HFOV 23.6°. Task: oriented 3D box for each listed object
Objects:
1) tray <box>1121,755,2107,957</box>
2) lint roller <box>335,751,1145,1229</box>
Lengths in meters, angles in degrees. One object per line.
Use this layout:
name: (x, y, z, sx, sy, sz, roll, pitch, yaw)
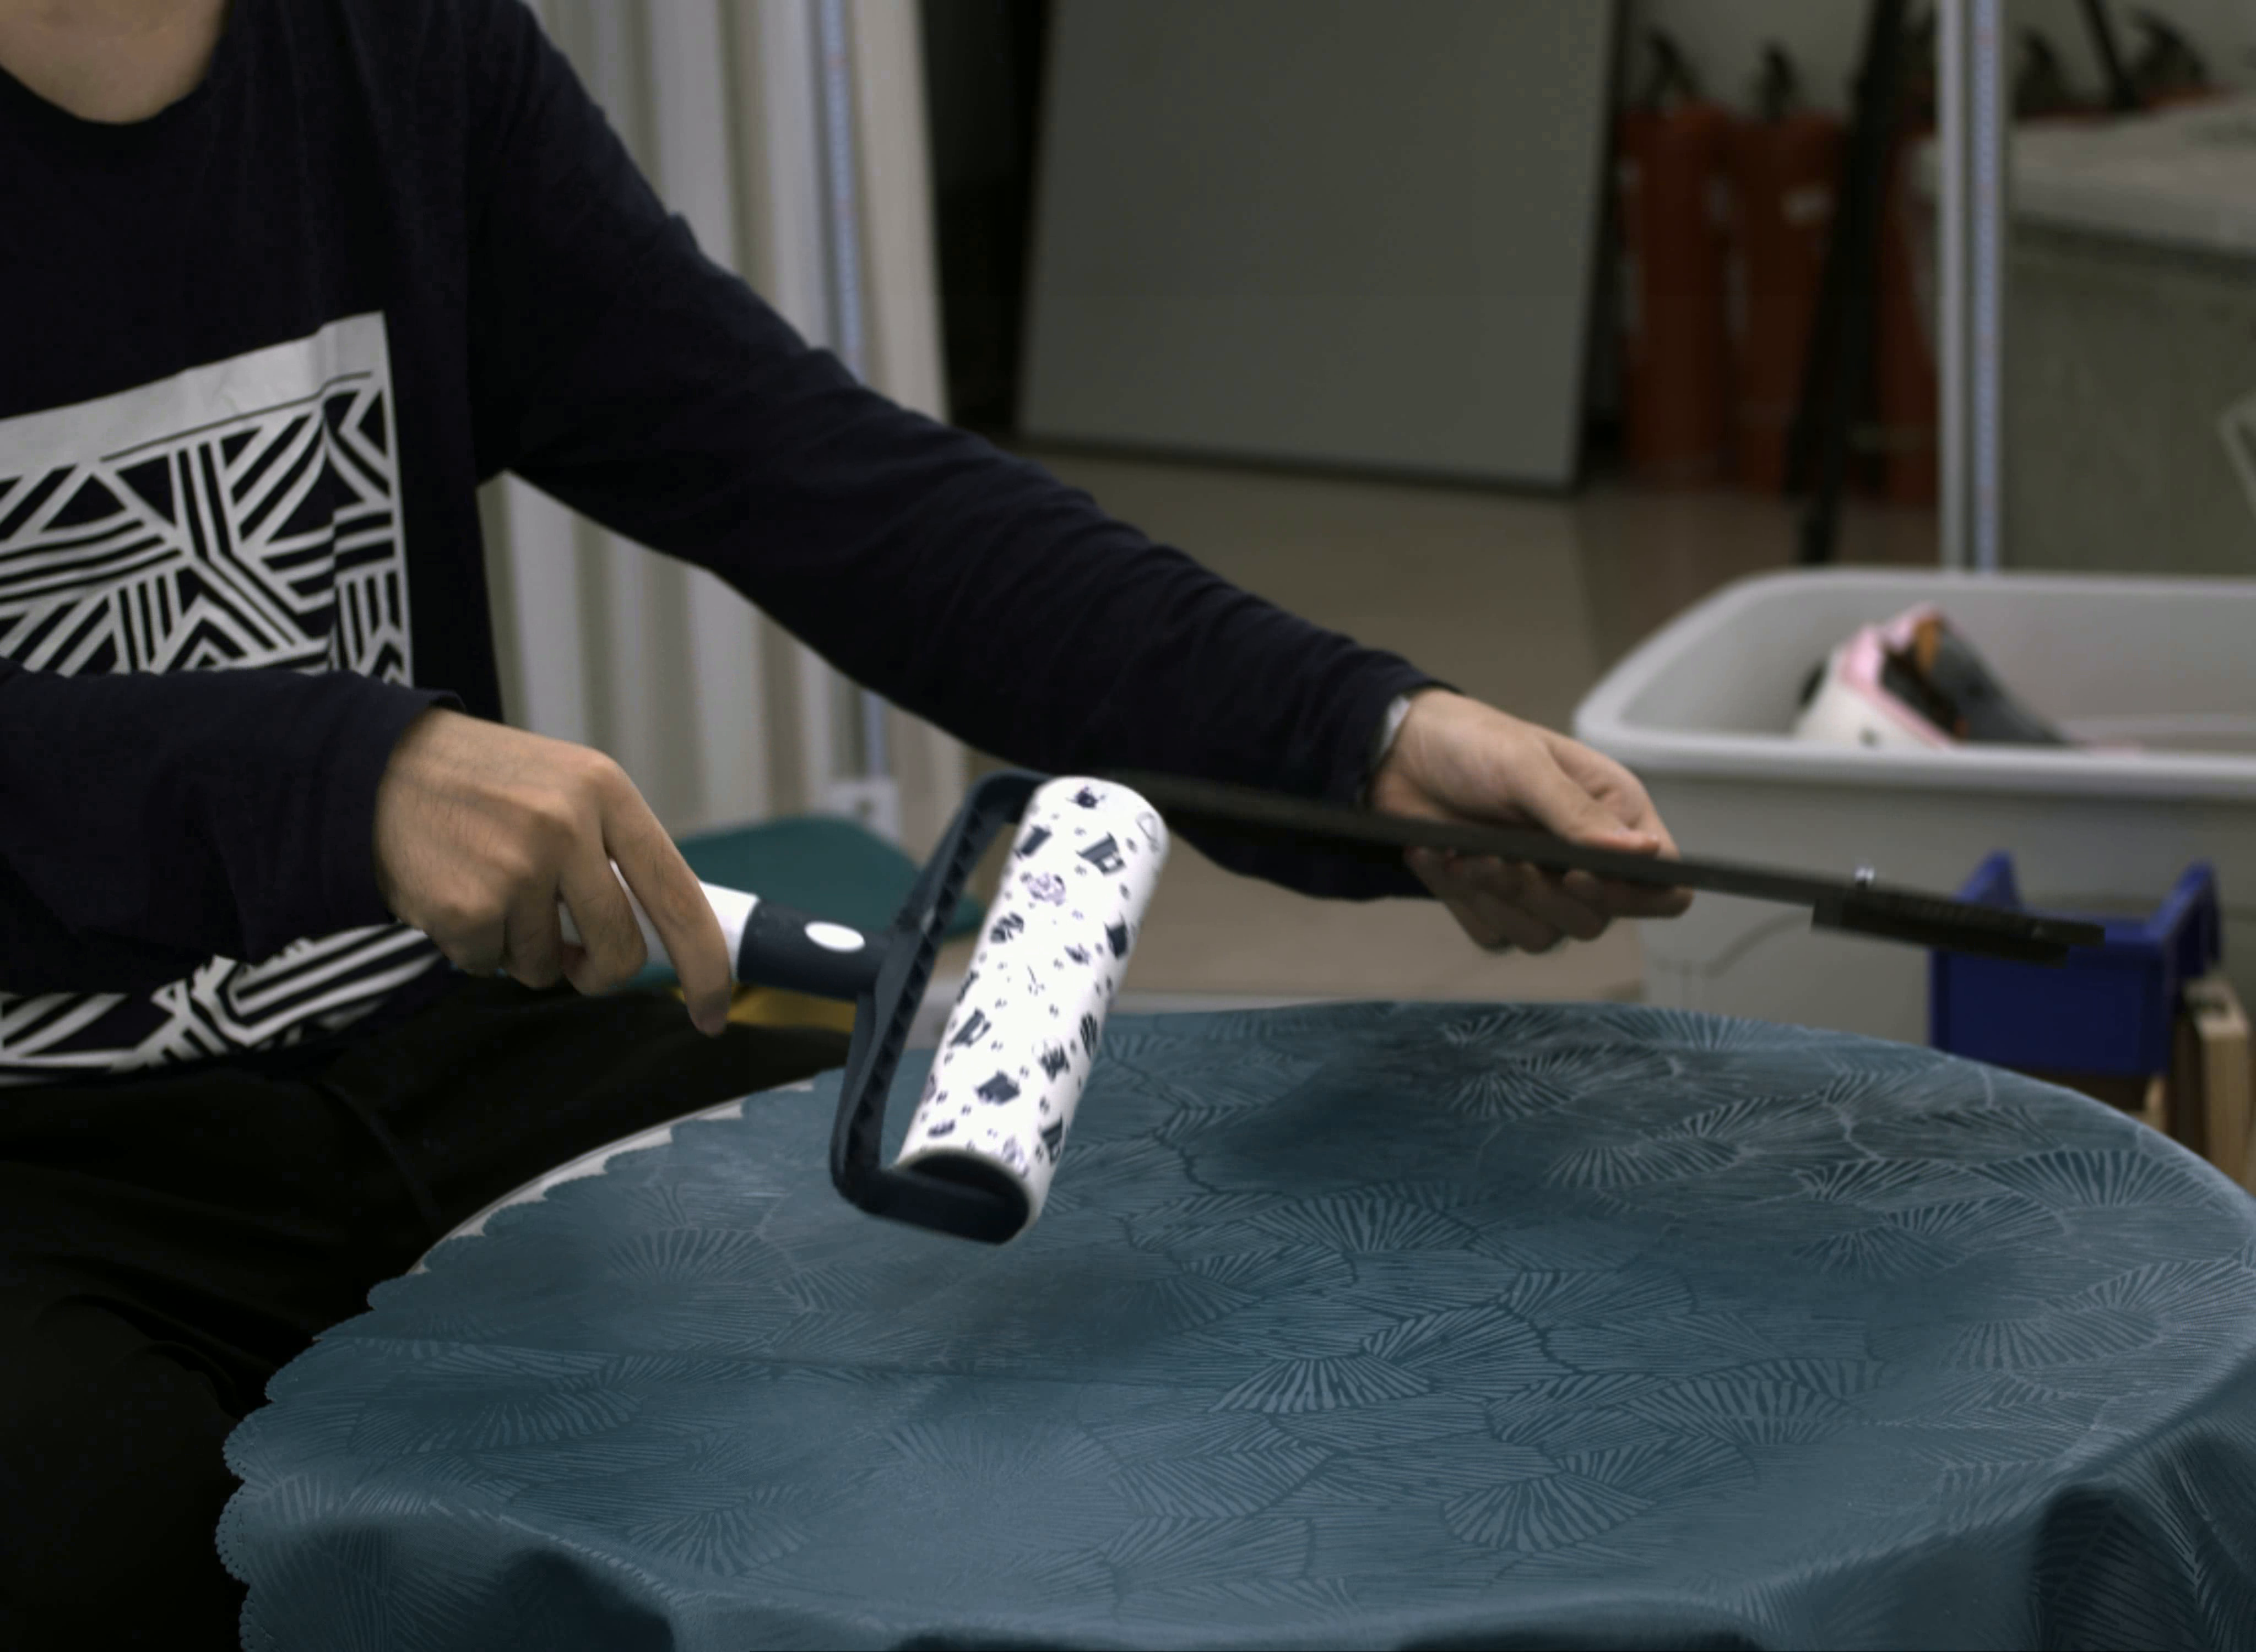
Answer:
tray: (0.159, 0.011, 1.801, 0.308, 0.019, 0.167, 7, -4, 39)
lint roller: (-0.129, 0.030, 1.687, 0.245, 0.050, 0.177, 12, 47, 6)
